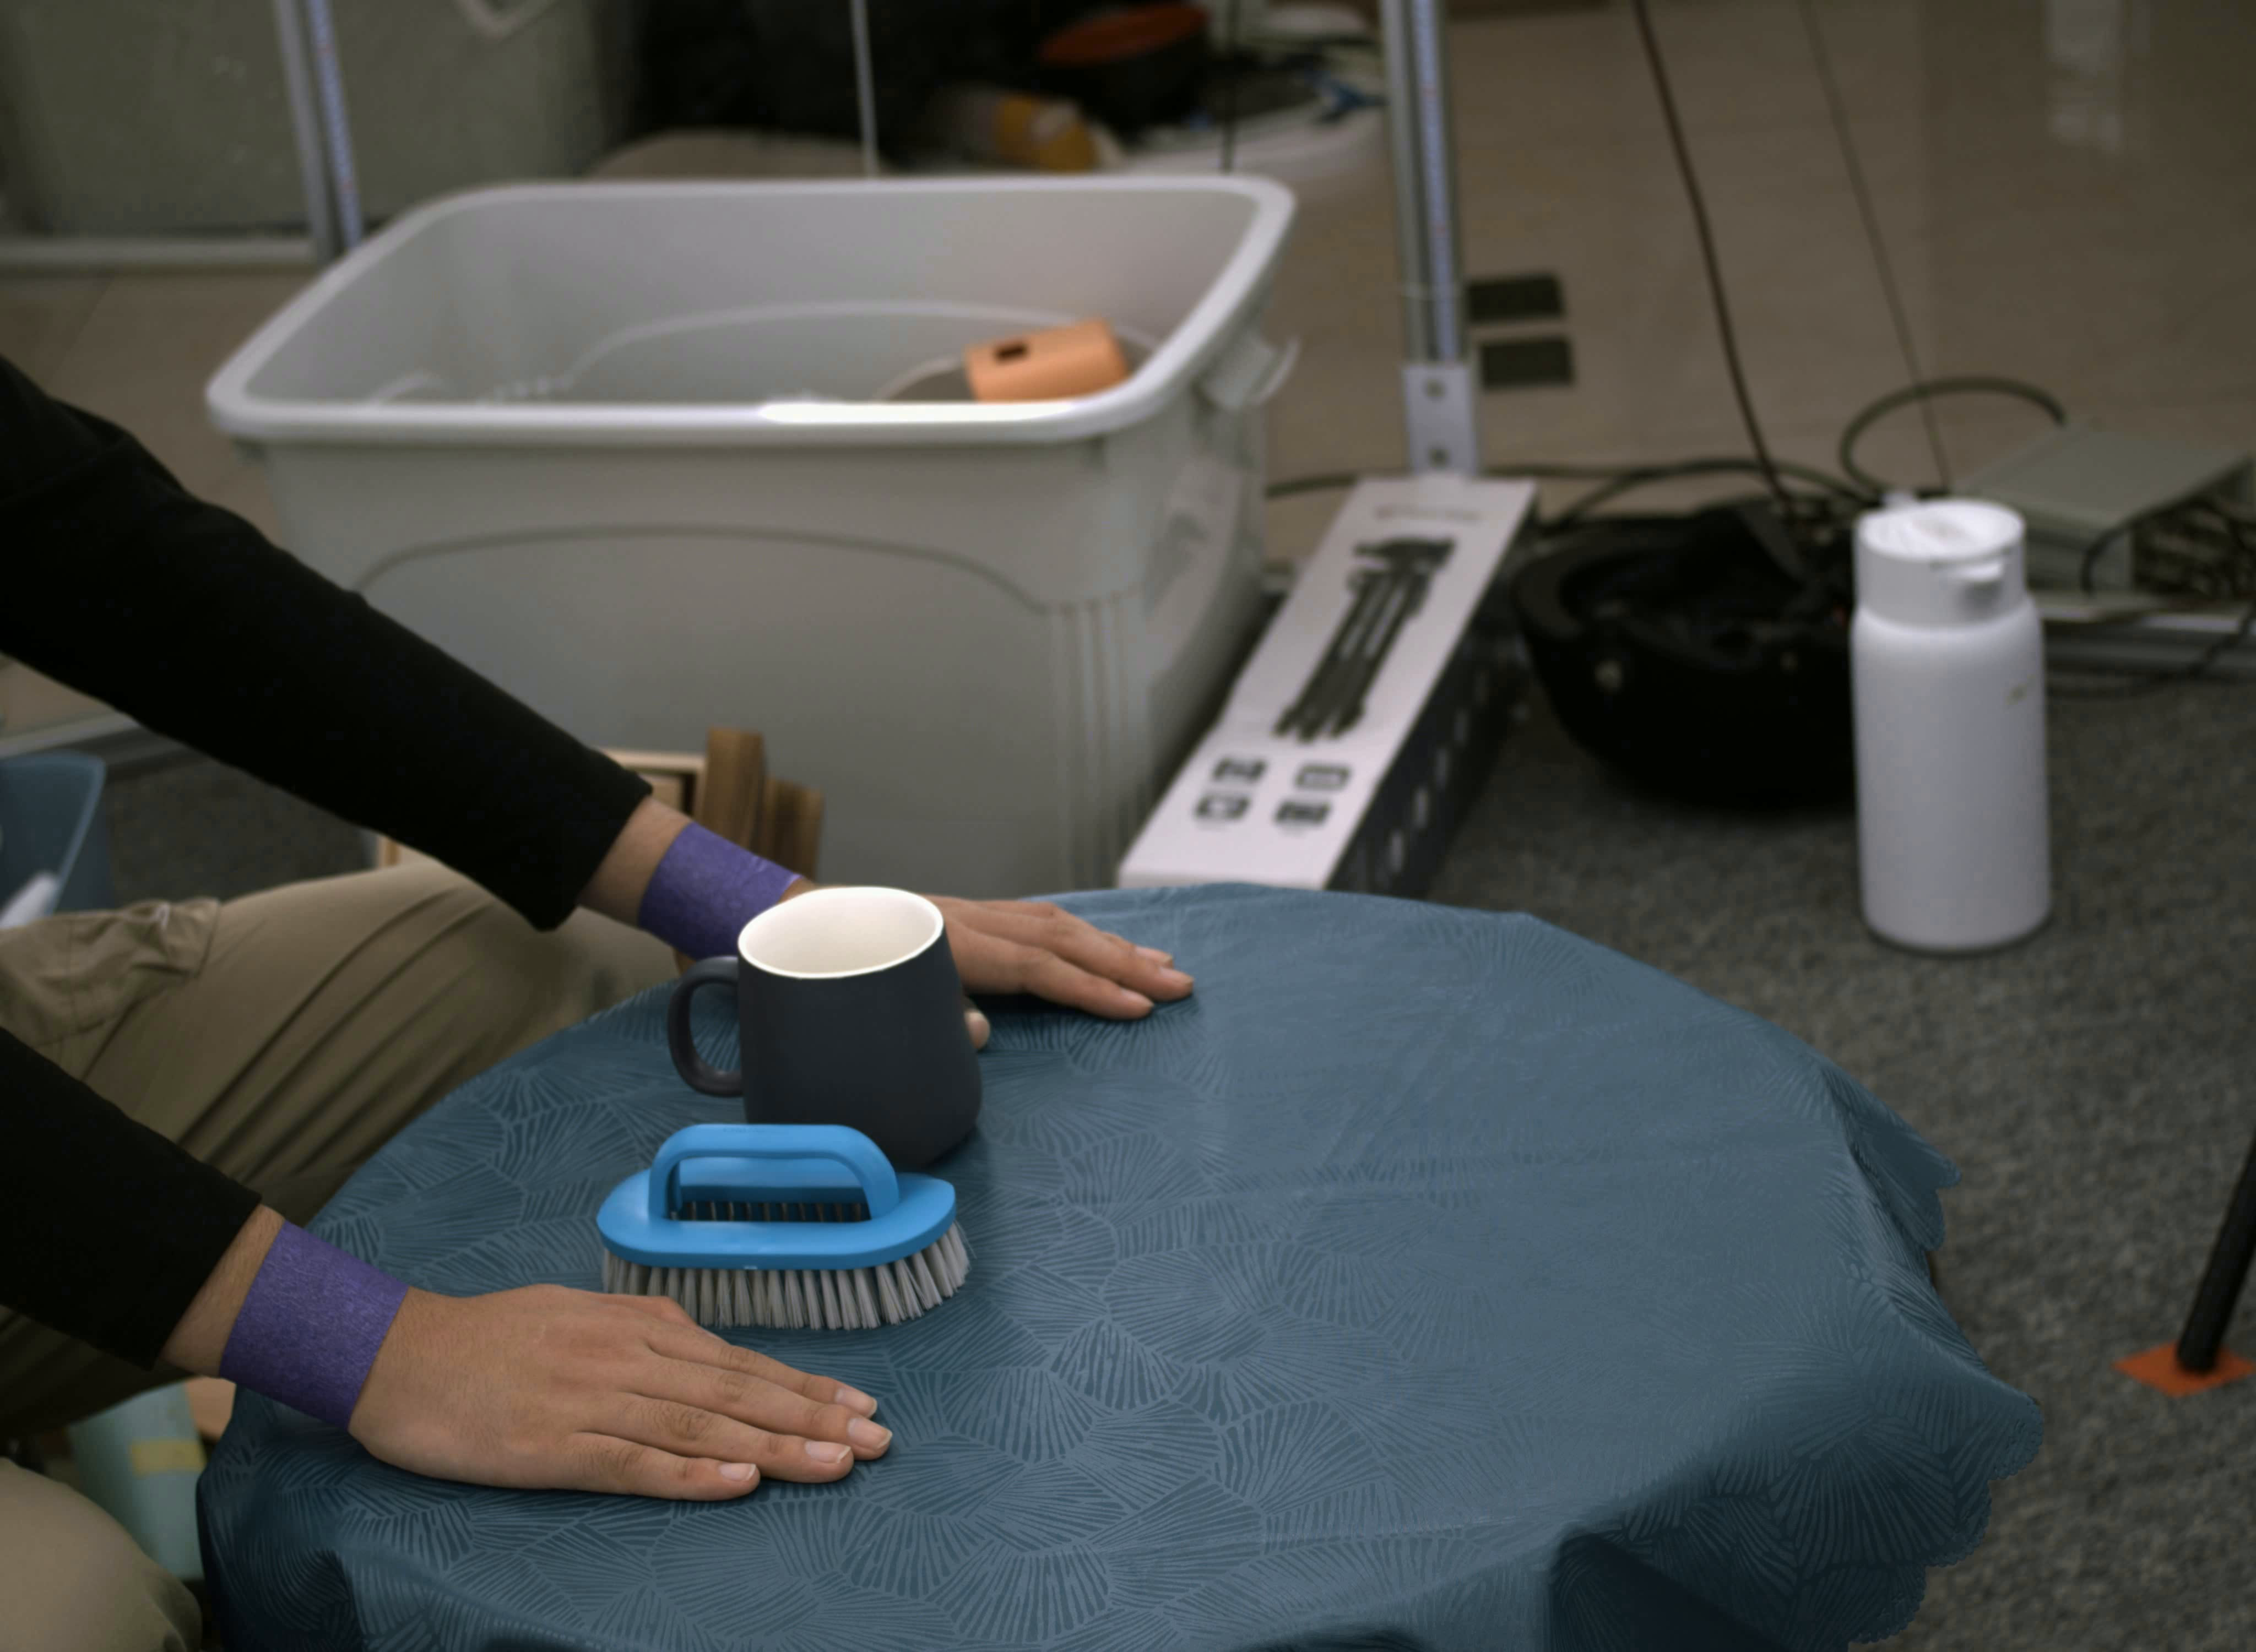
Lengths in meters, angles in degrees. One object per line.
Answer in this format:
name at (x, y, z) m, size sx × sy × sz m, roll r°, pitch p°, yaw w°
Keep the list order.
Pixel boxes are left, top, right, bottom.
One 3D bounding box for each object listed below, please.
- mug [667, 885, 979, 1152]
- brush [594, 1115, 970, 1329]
mug at (-0.120, 0.078, 2.193) m, size 0.123 × 0.091 × 0.092 m, roll 4°, pitch 27°, yaw 18°
brush at (-0.132, 0.138, 2.103) m, size 0.141 × 0.065 × 0.083 m, roll 0°, pitch 31°, yaw 15°
